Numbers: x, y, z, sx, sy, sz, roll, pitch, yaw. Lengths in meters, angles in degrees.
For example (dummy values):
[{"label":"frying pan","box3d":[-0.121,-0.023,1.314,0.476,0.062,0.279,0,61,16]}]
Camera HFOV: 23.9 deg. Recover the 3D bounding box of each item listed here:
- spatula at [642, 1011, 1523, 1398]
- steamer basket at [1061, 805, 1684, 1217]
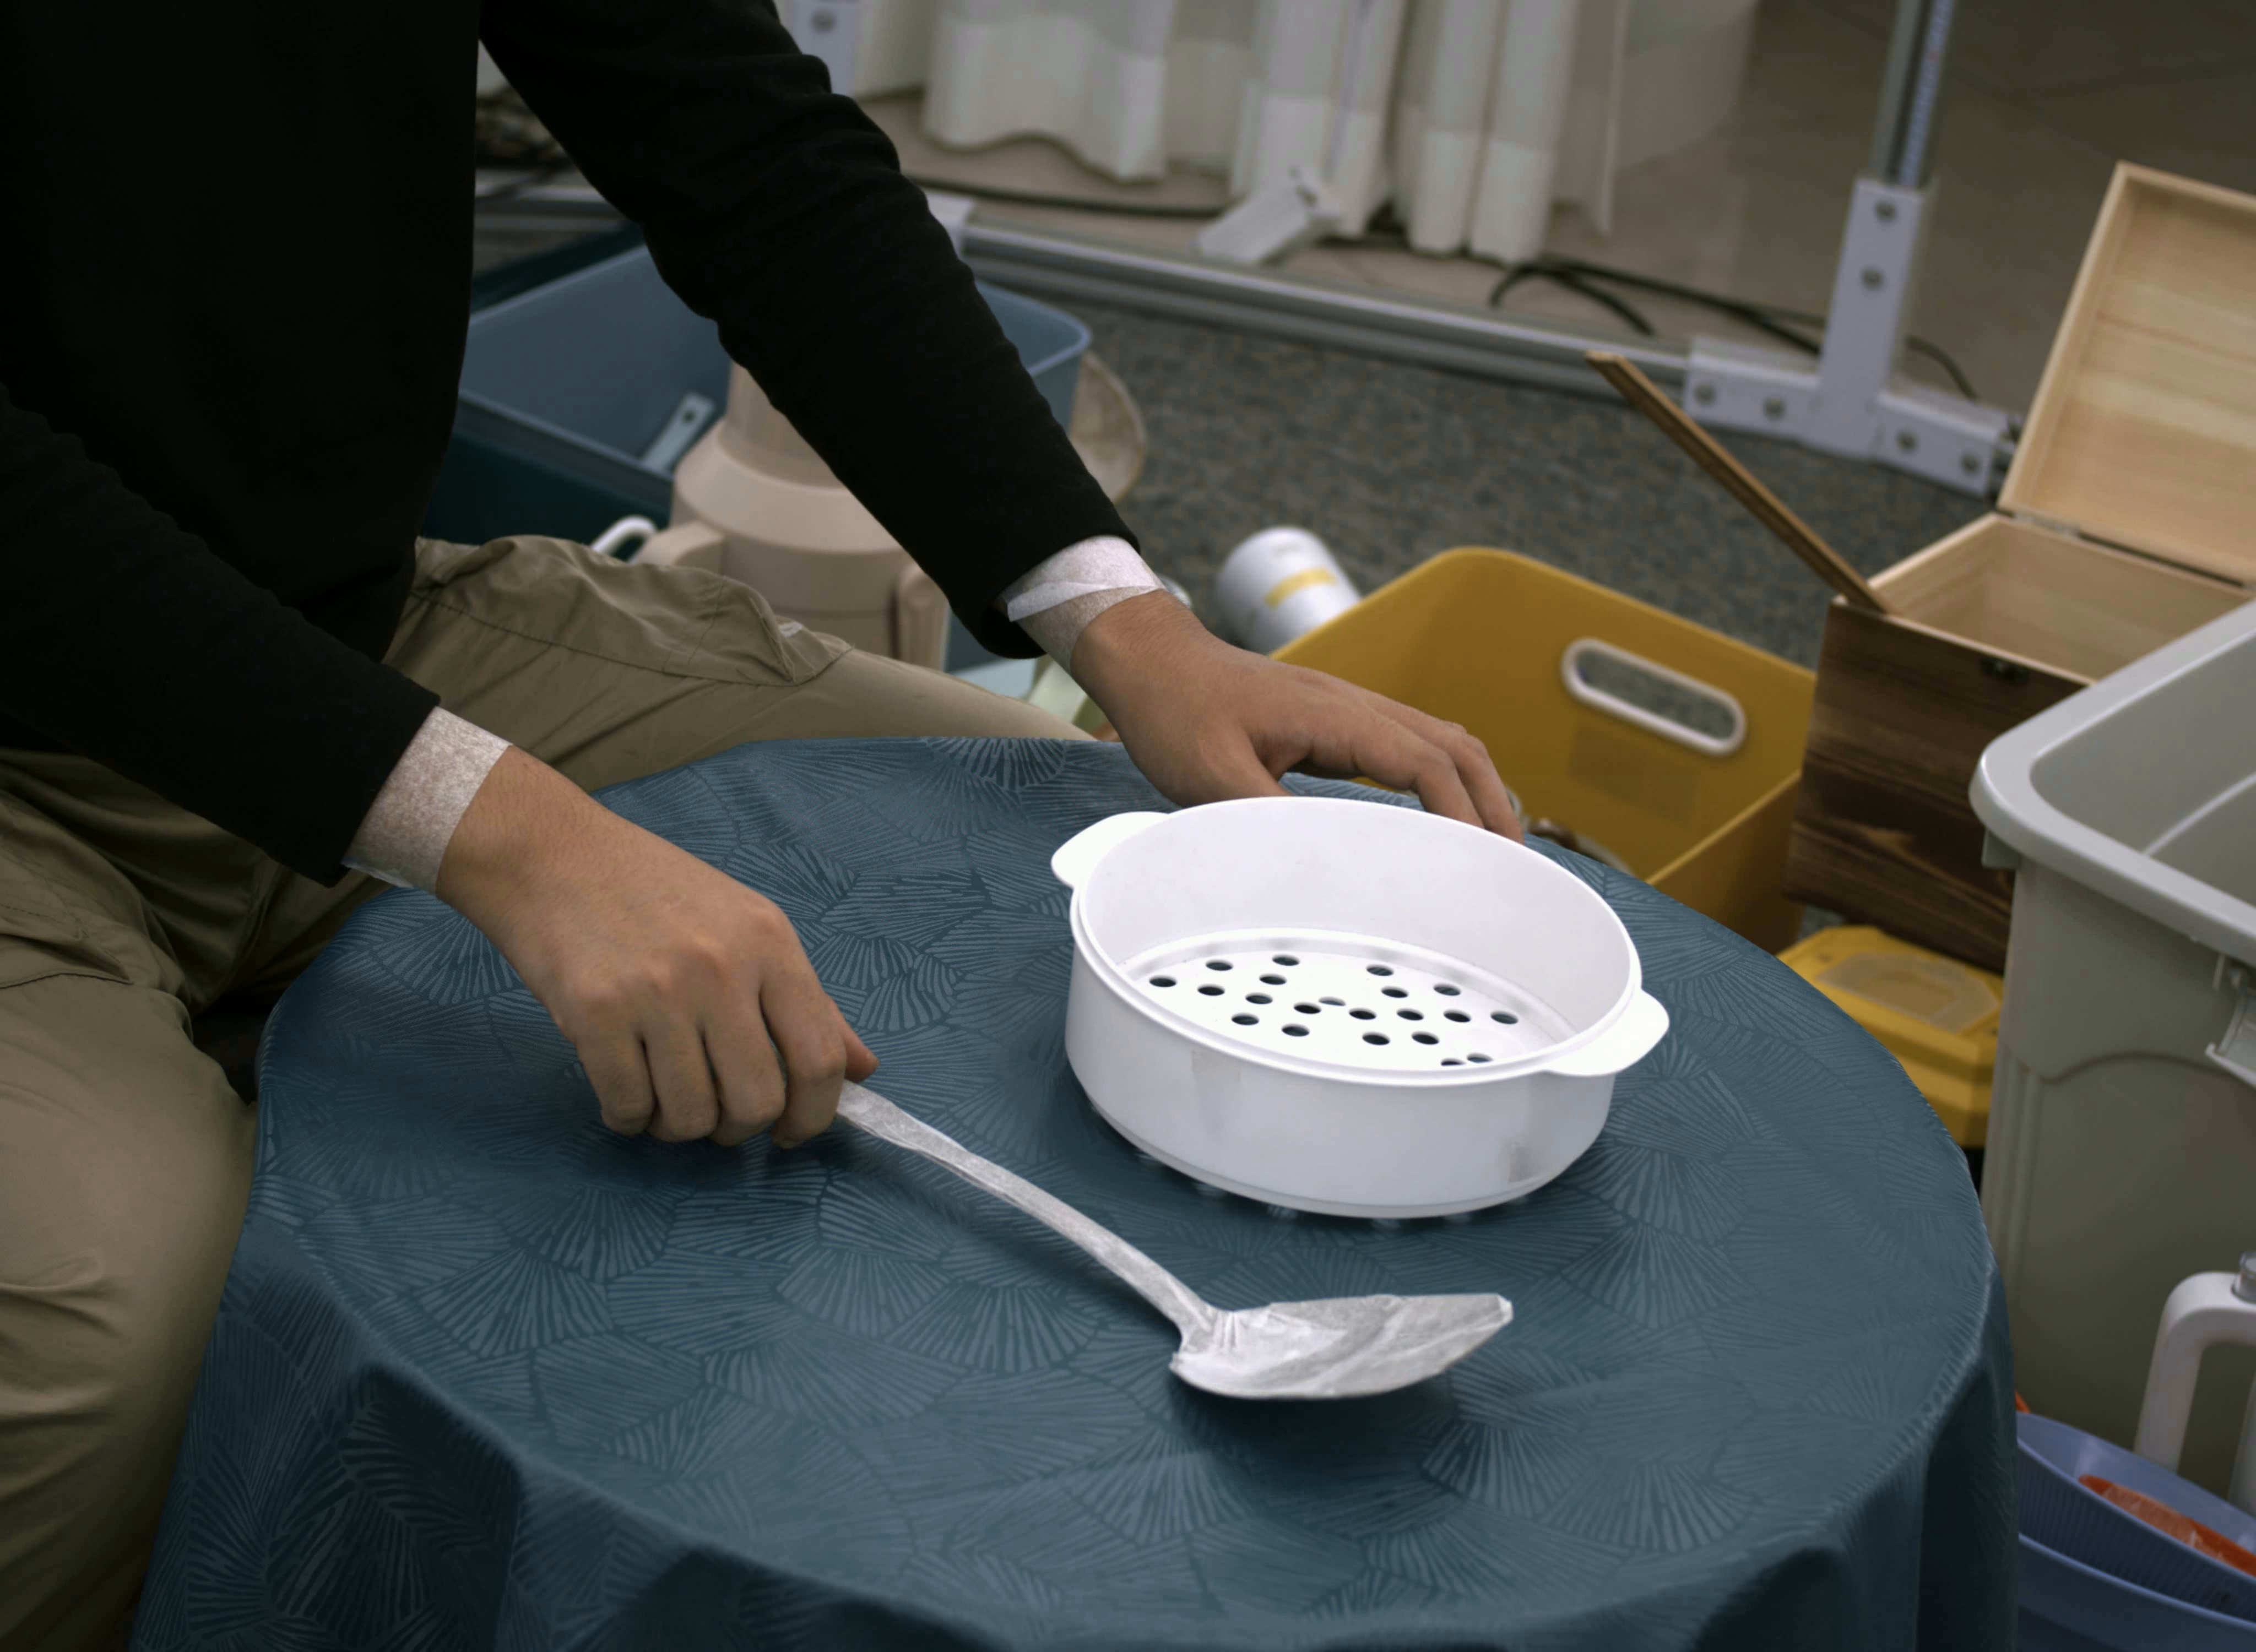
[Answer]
[{"label":"spatula","box3d":[-0.035,0.117,1.765,0.367,0.044,0.098,25,31,33]},{"label":"steamer basket","box3d":[0.080,0.065,1.859,0.232,0.069,0.201,20,29,27]}]
